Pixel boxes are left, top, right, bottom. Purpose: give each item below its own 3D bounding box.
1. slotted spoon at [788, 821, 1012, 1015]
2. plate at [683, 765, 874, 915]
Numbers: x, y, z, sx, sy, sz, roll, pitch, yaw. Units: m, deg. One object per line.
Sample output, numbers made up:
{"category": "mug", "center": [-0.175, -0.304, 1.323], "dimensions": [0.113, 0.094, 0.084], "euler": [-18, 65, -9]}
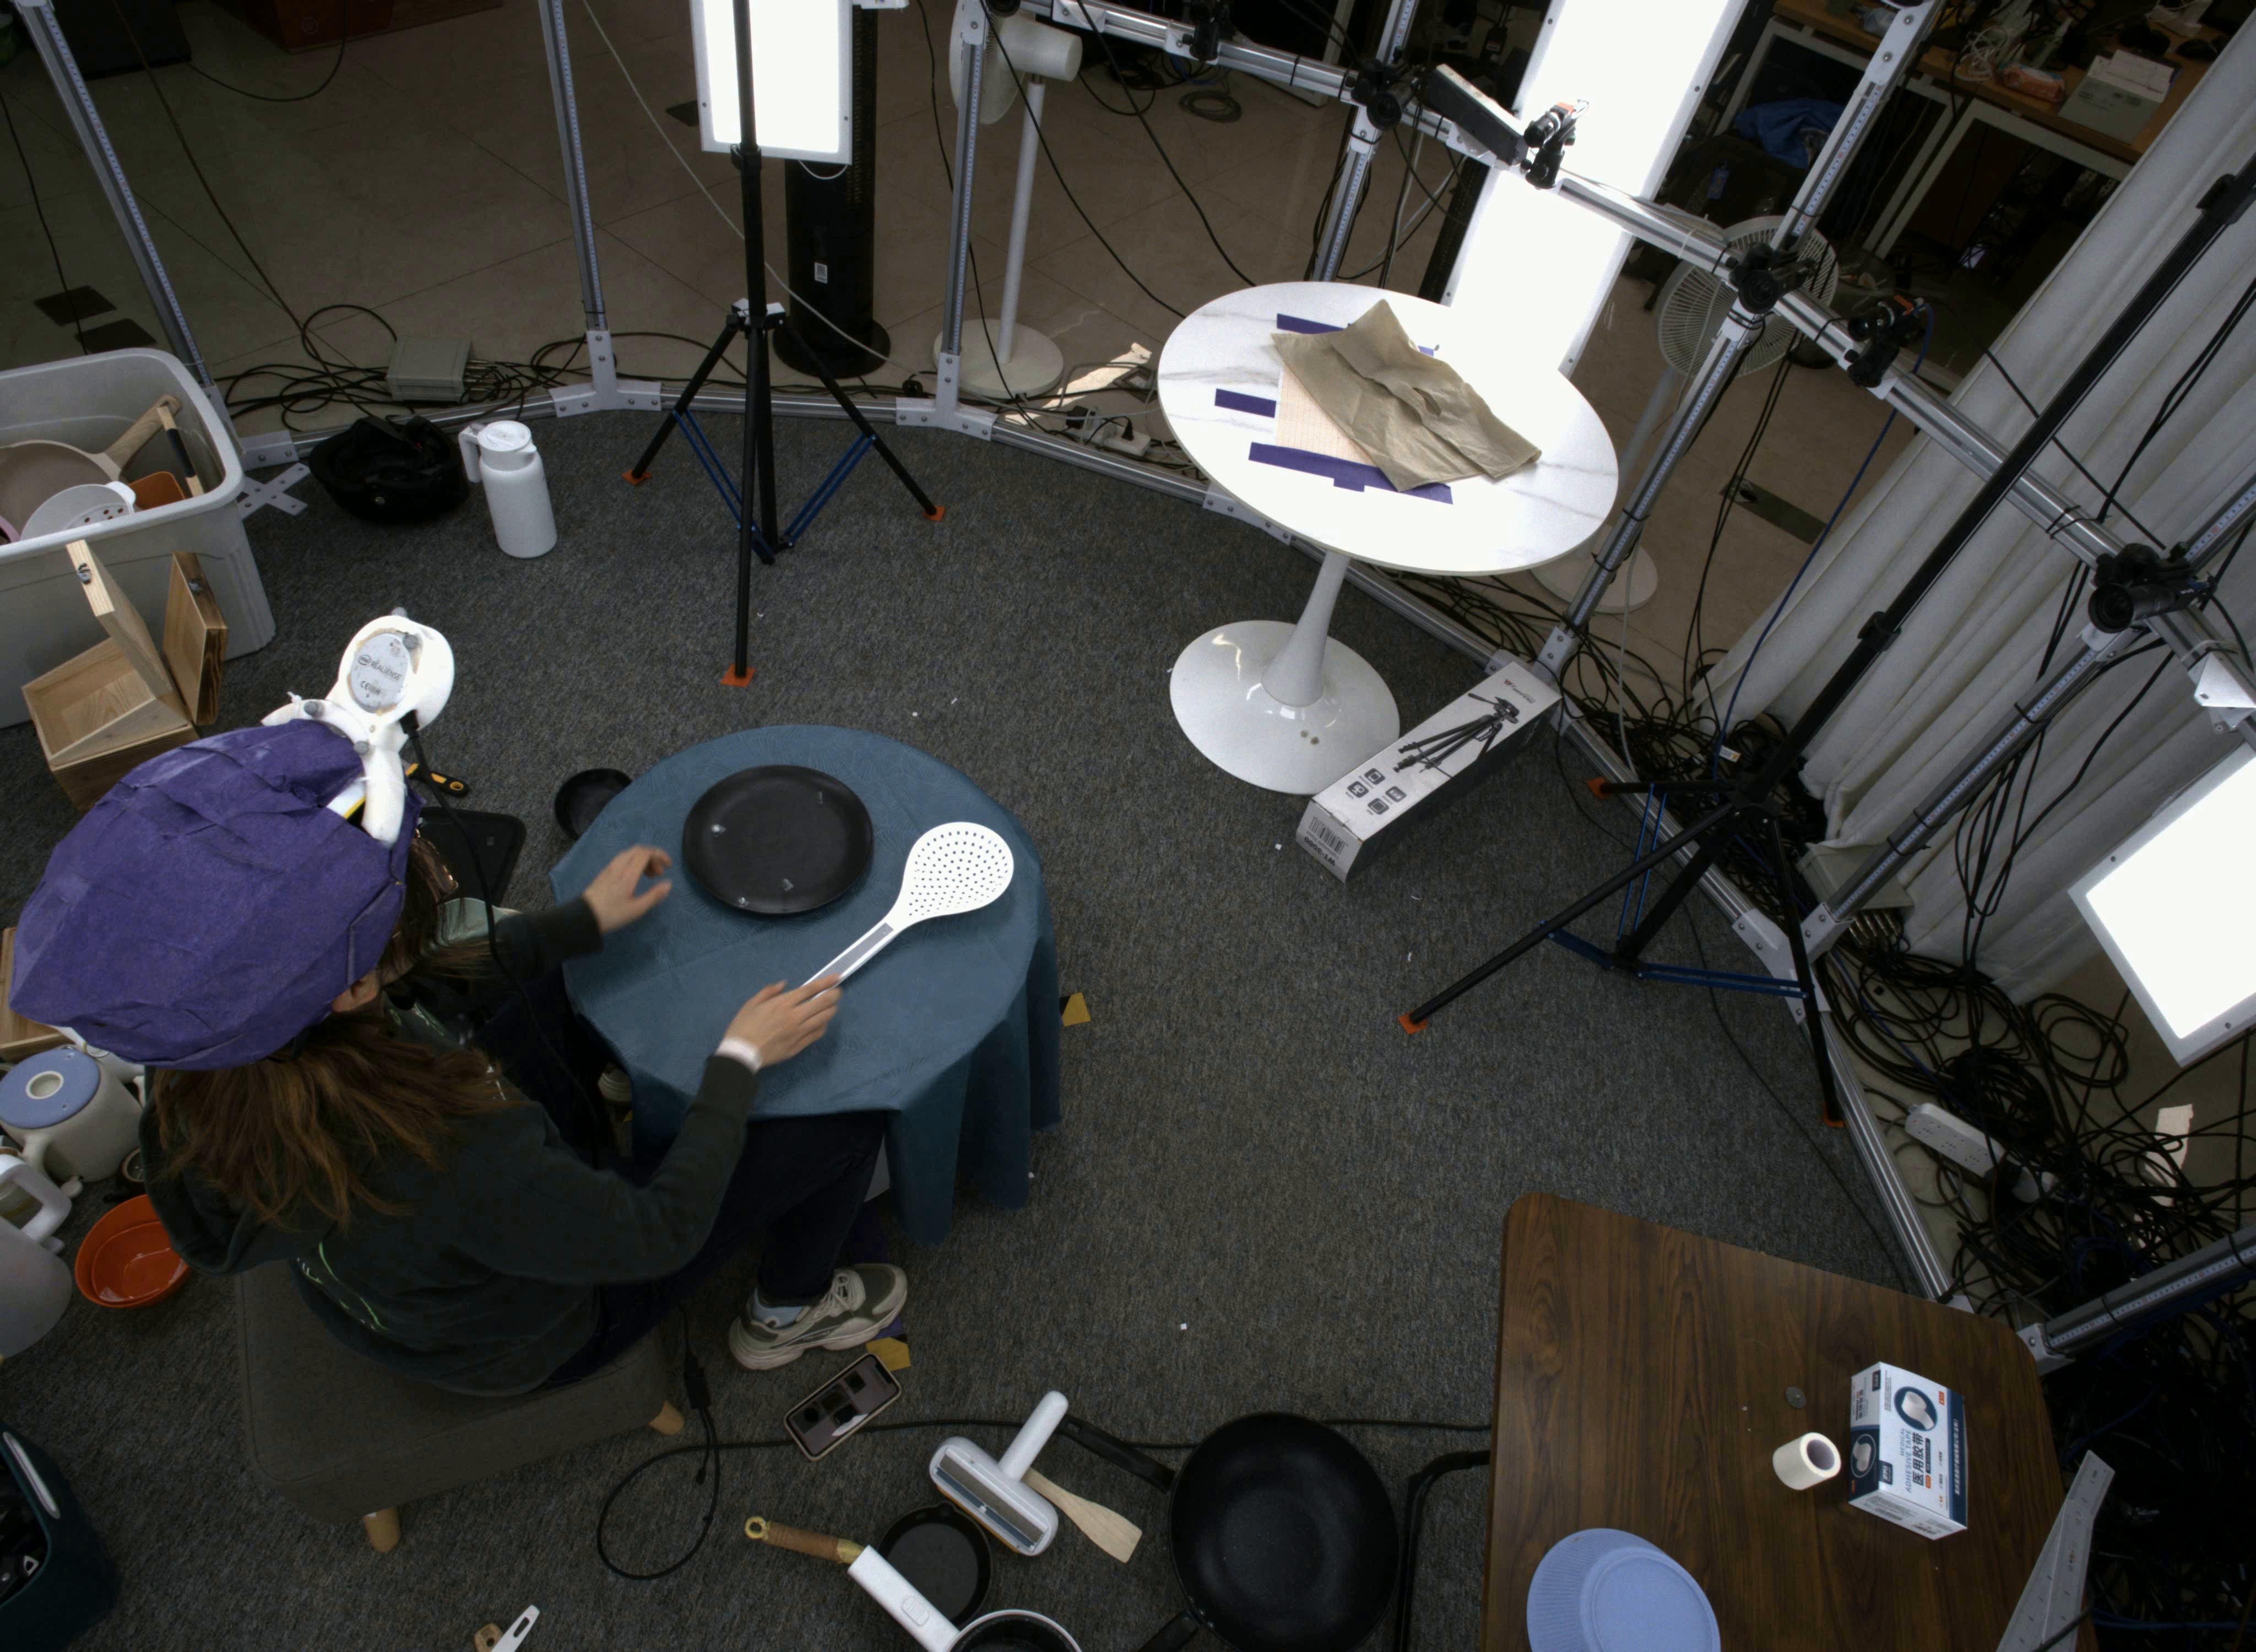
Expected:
{"category": "slotted spoon", "center": [-0.289, 0.116, 1.648], "dimensions": [0.133, 0.047, 0.350], "euler": [38, 55, 18]}
{"category": "plate", "center": [-0.456, 0.019, 1.692], "dimensions": [0.244, 0.024, 0.240], "euler": [8, 52, -9]}
